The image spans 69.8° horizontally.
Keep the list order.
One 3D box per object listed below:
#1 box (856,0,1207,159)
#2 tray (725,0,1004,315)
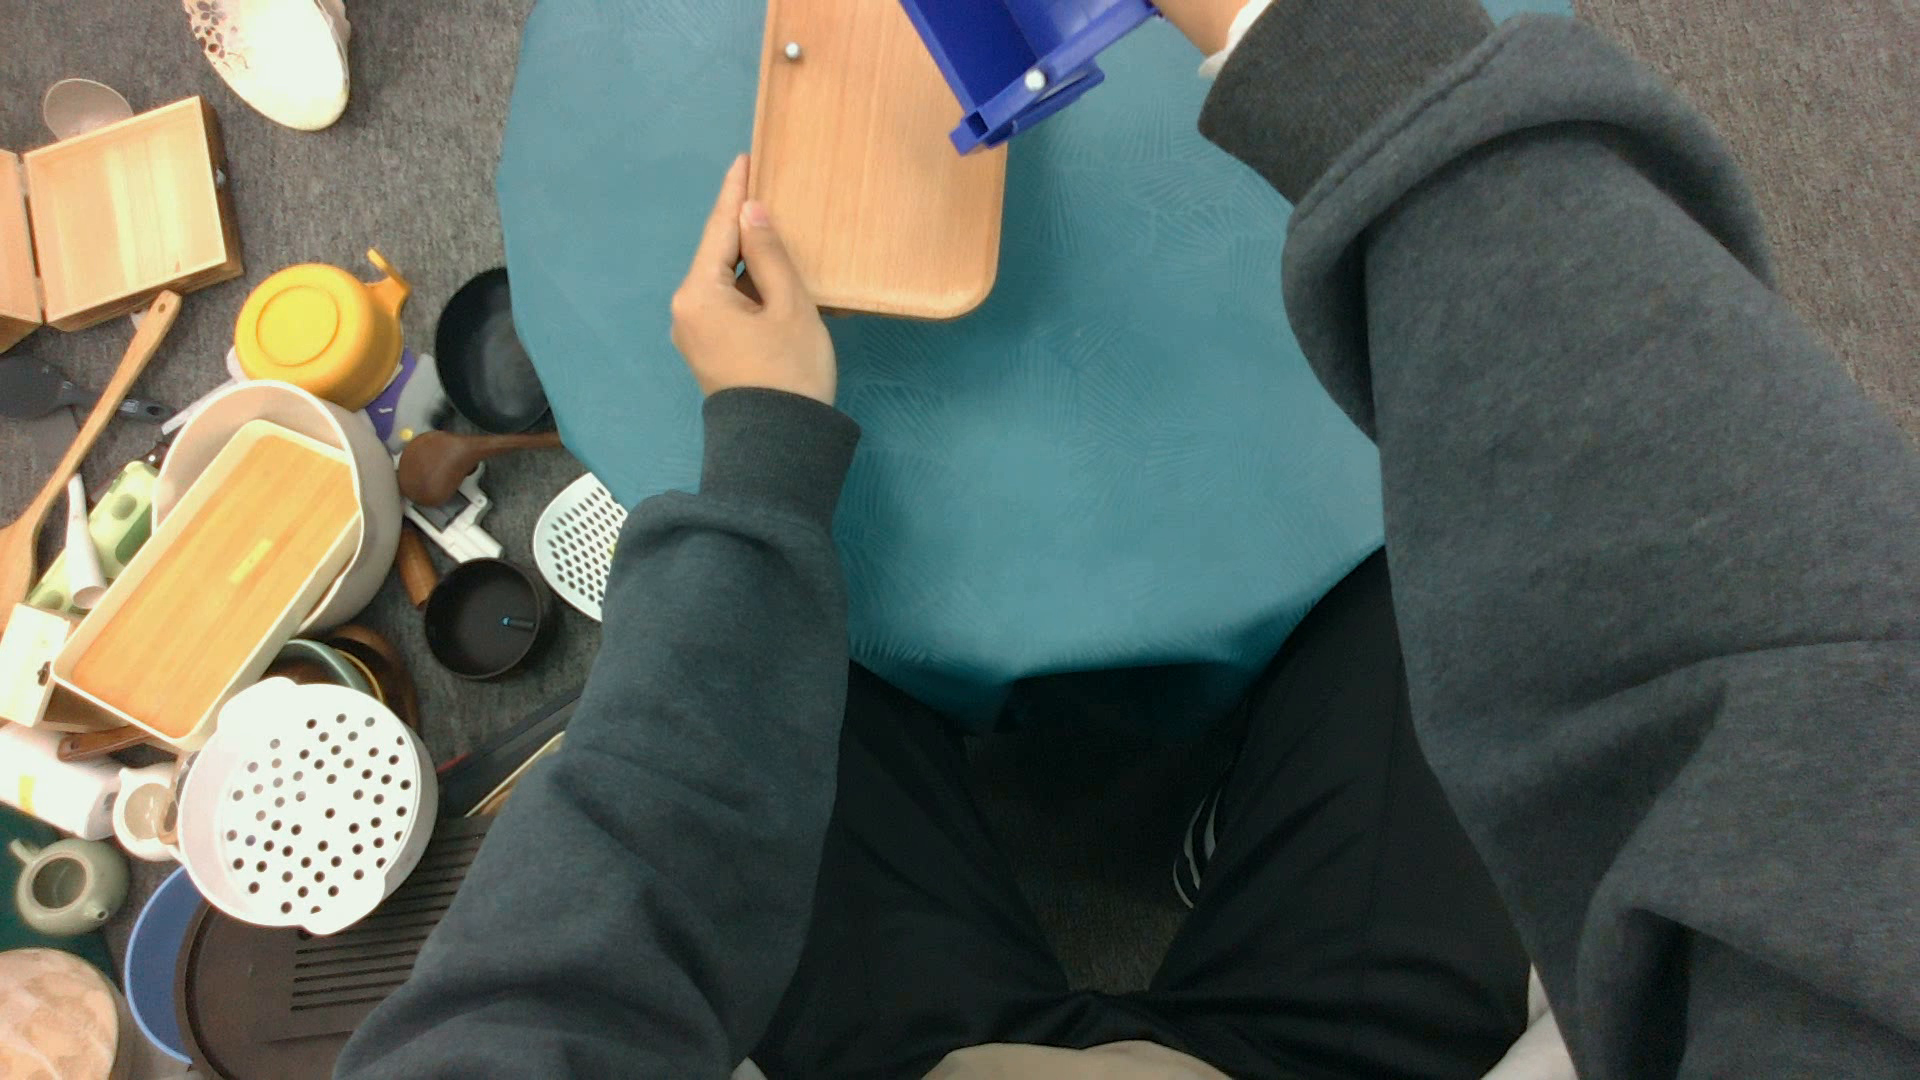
[{"bbox_3d":[0.016,-0.243,0.564,0.082,0.178,0.124,-42,106,-41],"label":"box"},{"bbox_3d":[-0.045,-0.236,0.705,0.130,0.023,0.251,5,78,-1],"label":"tray"}]
